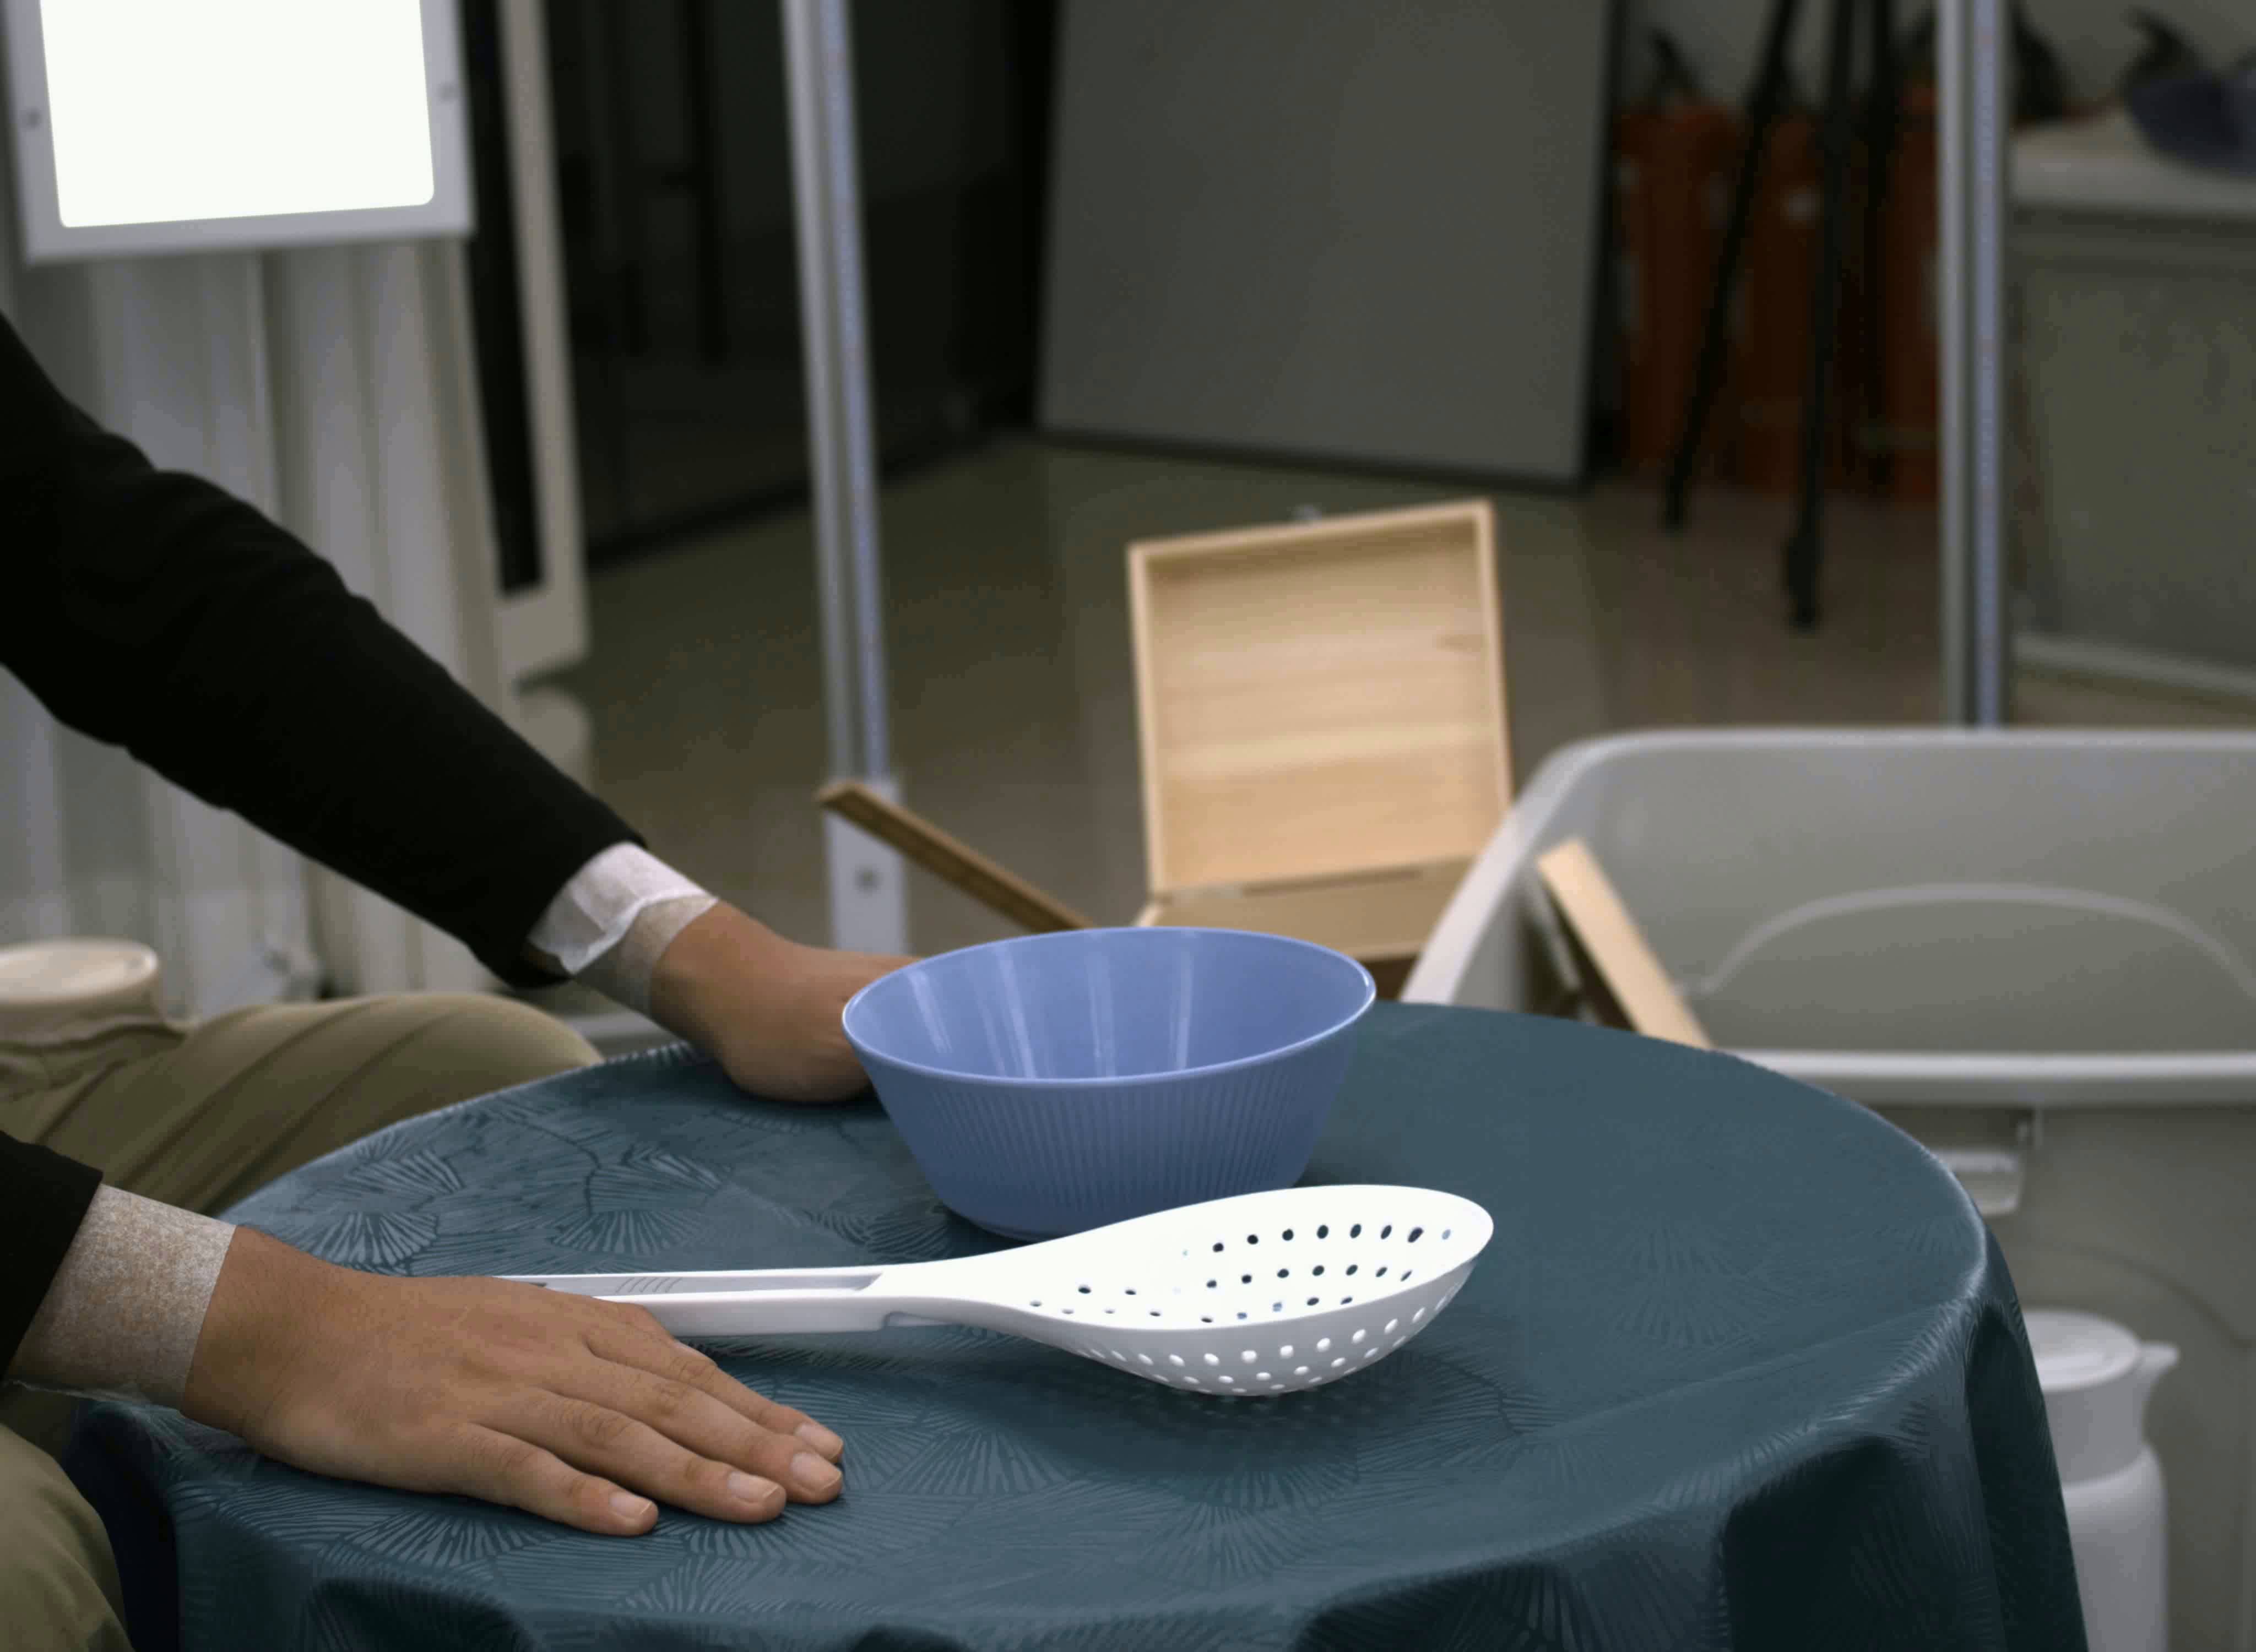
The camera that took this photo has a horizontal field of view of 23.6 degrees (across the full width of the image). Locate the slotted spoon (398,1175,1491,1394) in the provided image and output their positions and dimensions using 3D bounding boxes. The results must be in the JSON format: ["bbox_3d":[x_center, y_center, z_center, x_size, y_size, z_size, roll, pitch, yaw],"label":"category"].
[{"bbox_3d":[-0.059,0.140,1.614,0.349,0.046,0.135,-1,14,20],"label":"slotted spoon"}]

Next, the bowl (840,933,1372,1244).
[{"bbox_3d":[-0.005,0.087,1.760,0.174,0.071,0.176,-5,13,0],"label":"bowl"}]
